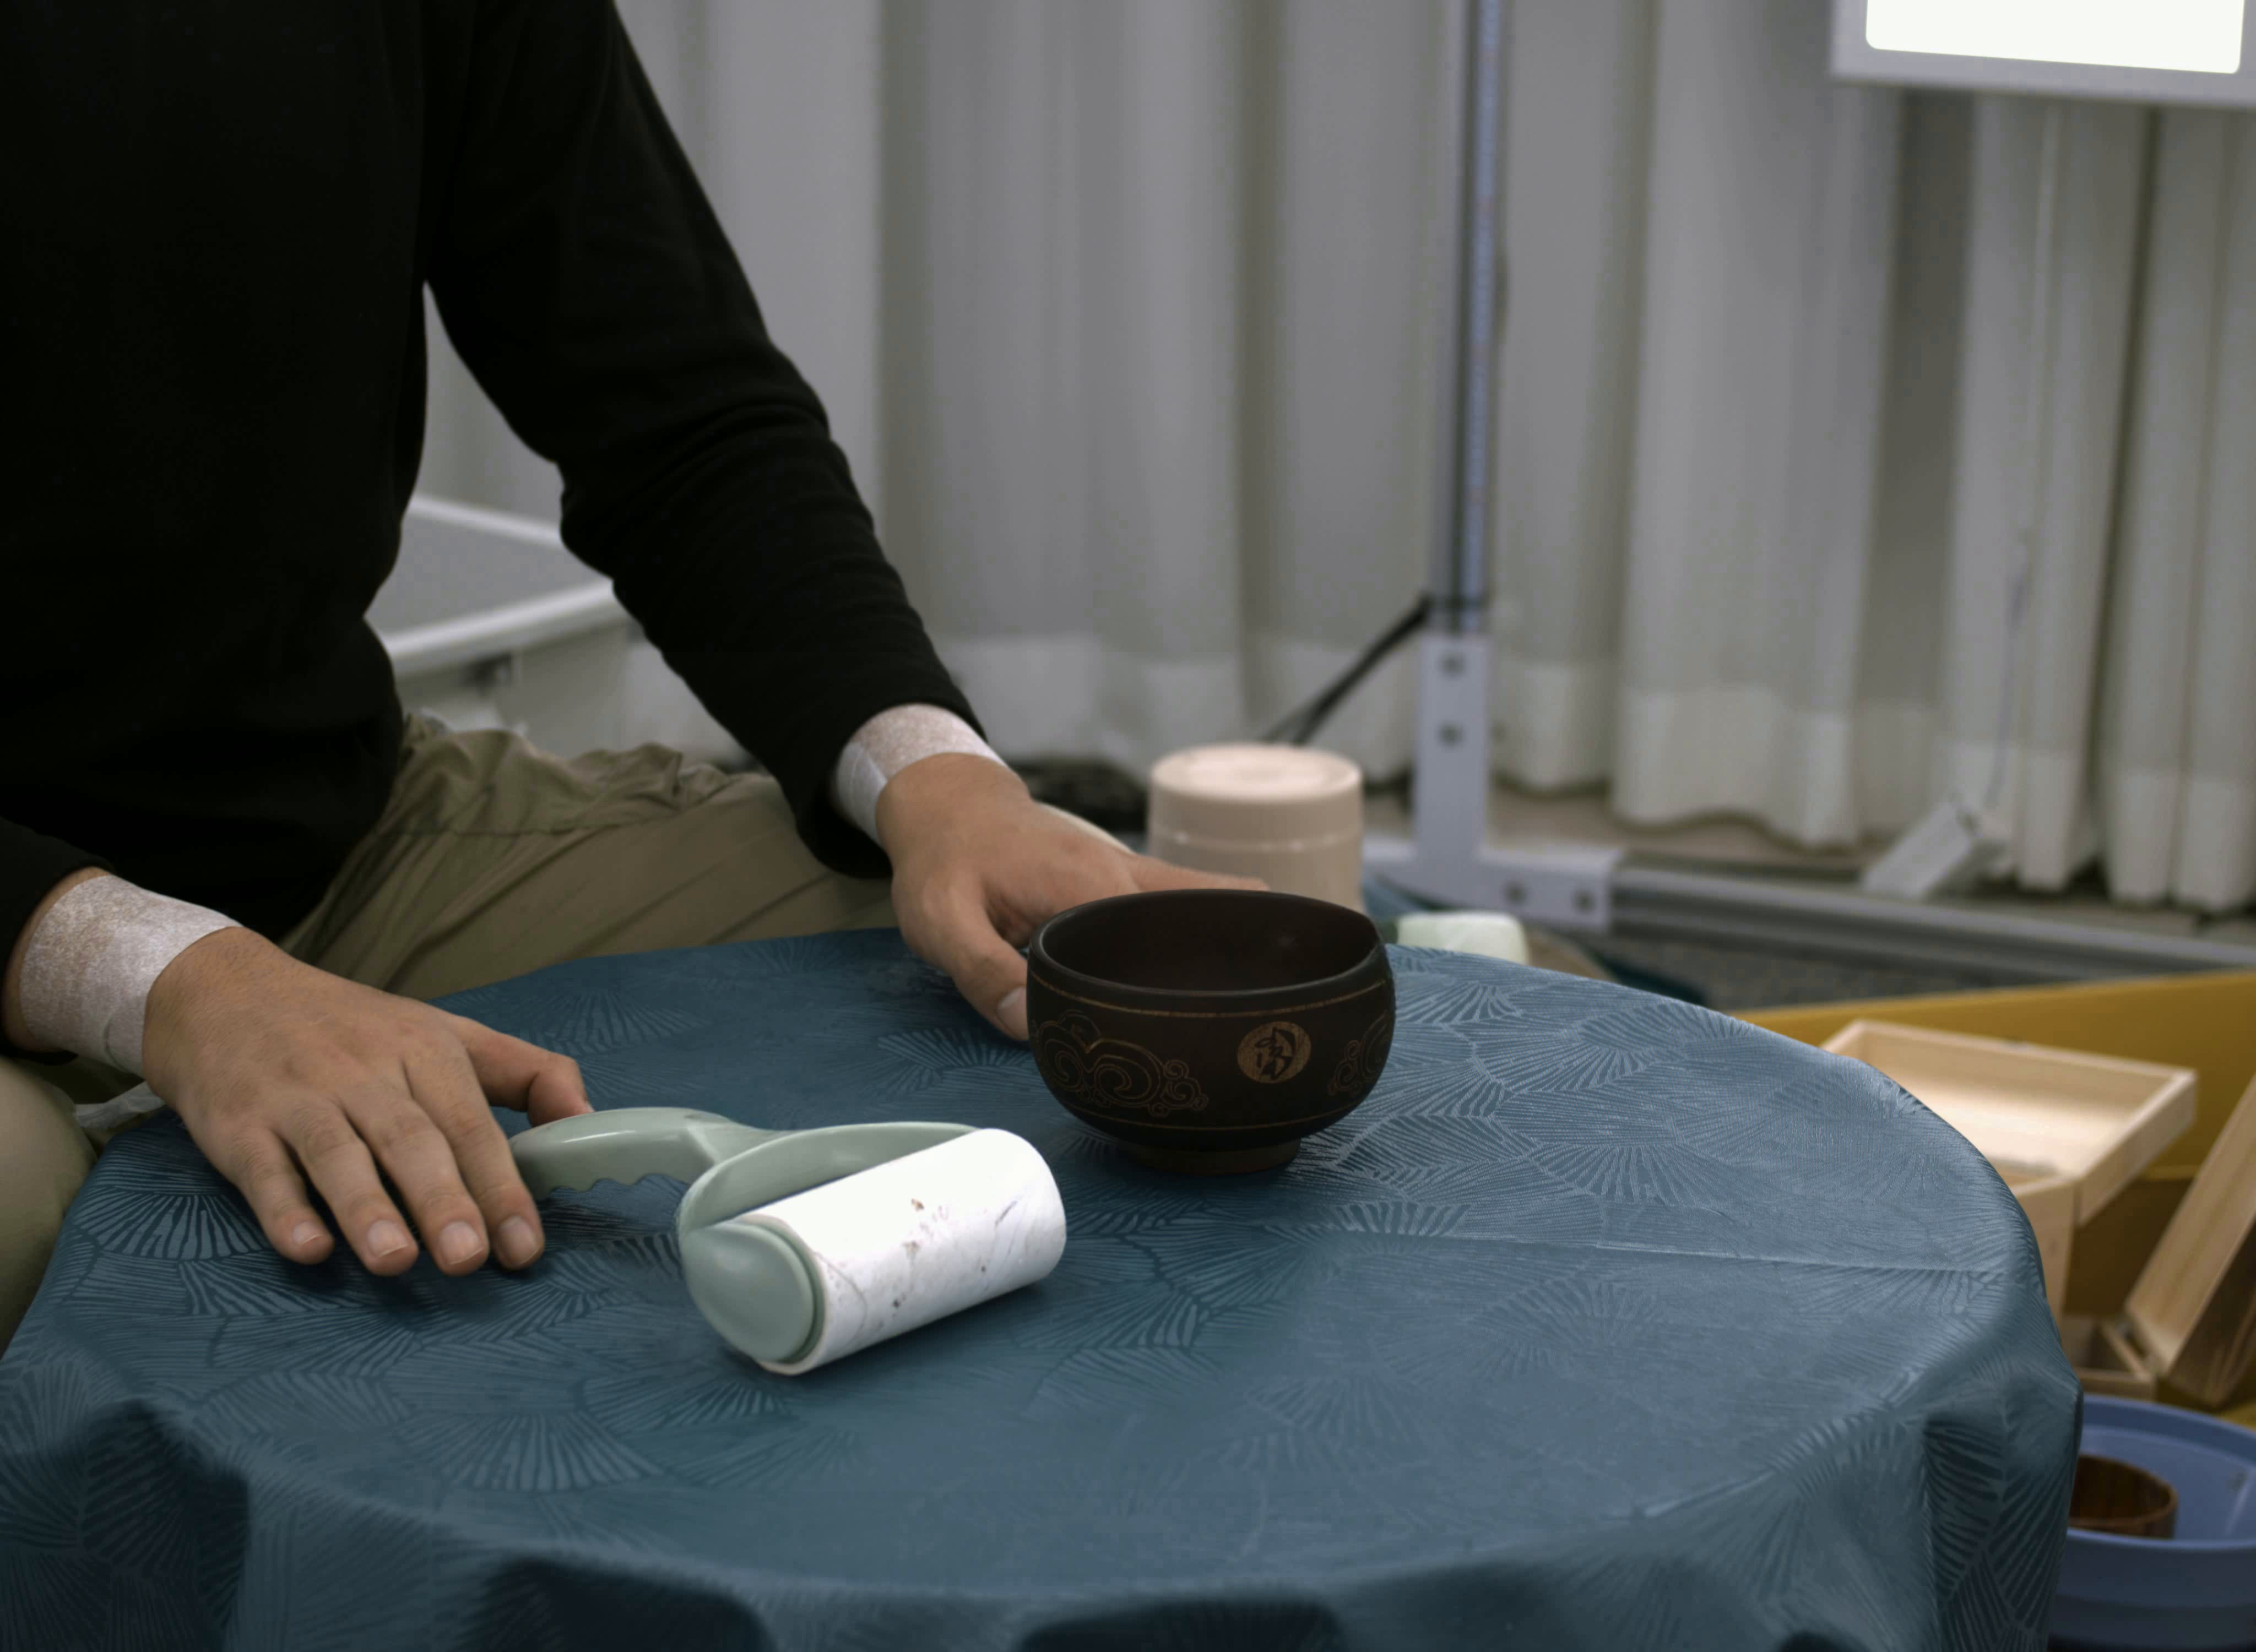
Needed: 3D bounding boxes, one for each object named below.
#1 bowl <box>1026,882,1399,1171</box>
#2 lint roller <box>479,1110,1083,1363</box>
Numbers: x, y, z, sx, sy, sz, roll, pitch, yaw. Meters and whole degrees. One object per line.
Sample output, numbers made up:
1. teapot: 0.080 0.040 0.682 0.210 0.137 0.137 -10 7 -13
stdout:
1. bowl: 0.027 0.067 1.652 0.117 0.070 0.117 -1 16 1
2. lint roller: -0.117 0.108 1.551 0.195 0.049 0.117 11 20 39
